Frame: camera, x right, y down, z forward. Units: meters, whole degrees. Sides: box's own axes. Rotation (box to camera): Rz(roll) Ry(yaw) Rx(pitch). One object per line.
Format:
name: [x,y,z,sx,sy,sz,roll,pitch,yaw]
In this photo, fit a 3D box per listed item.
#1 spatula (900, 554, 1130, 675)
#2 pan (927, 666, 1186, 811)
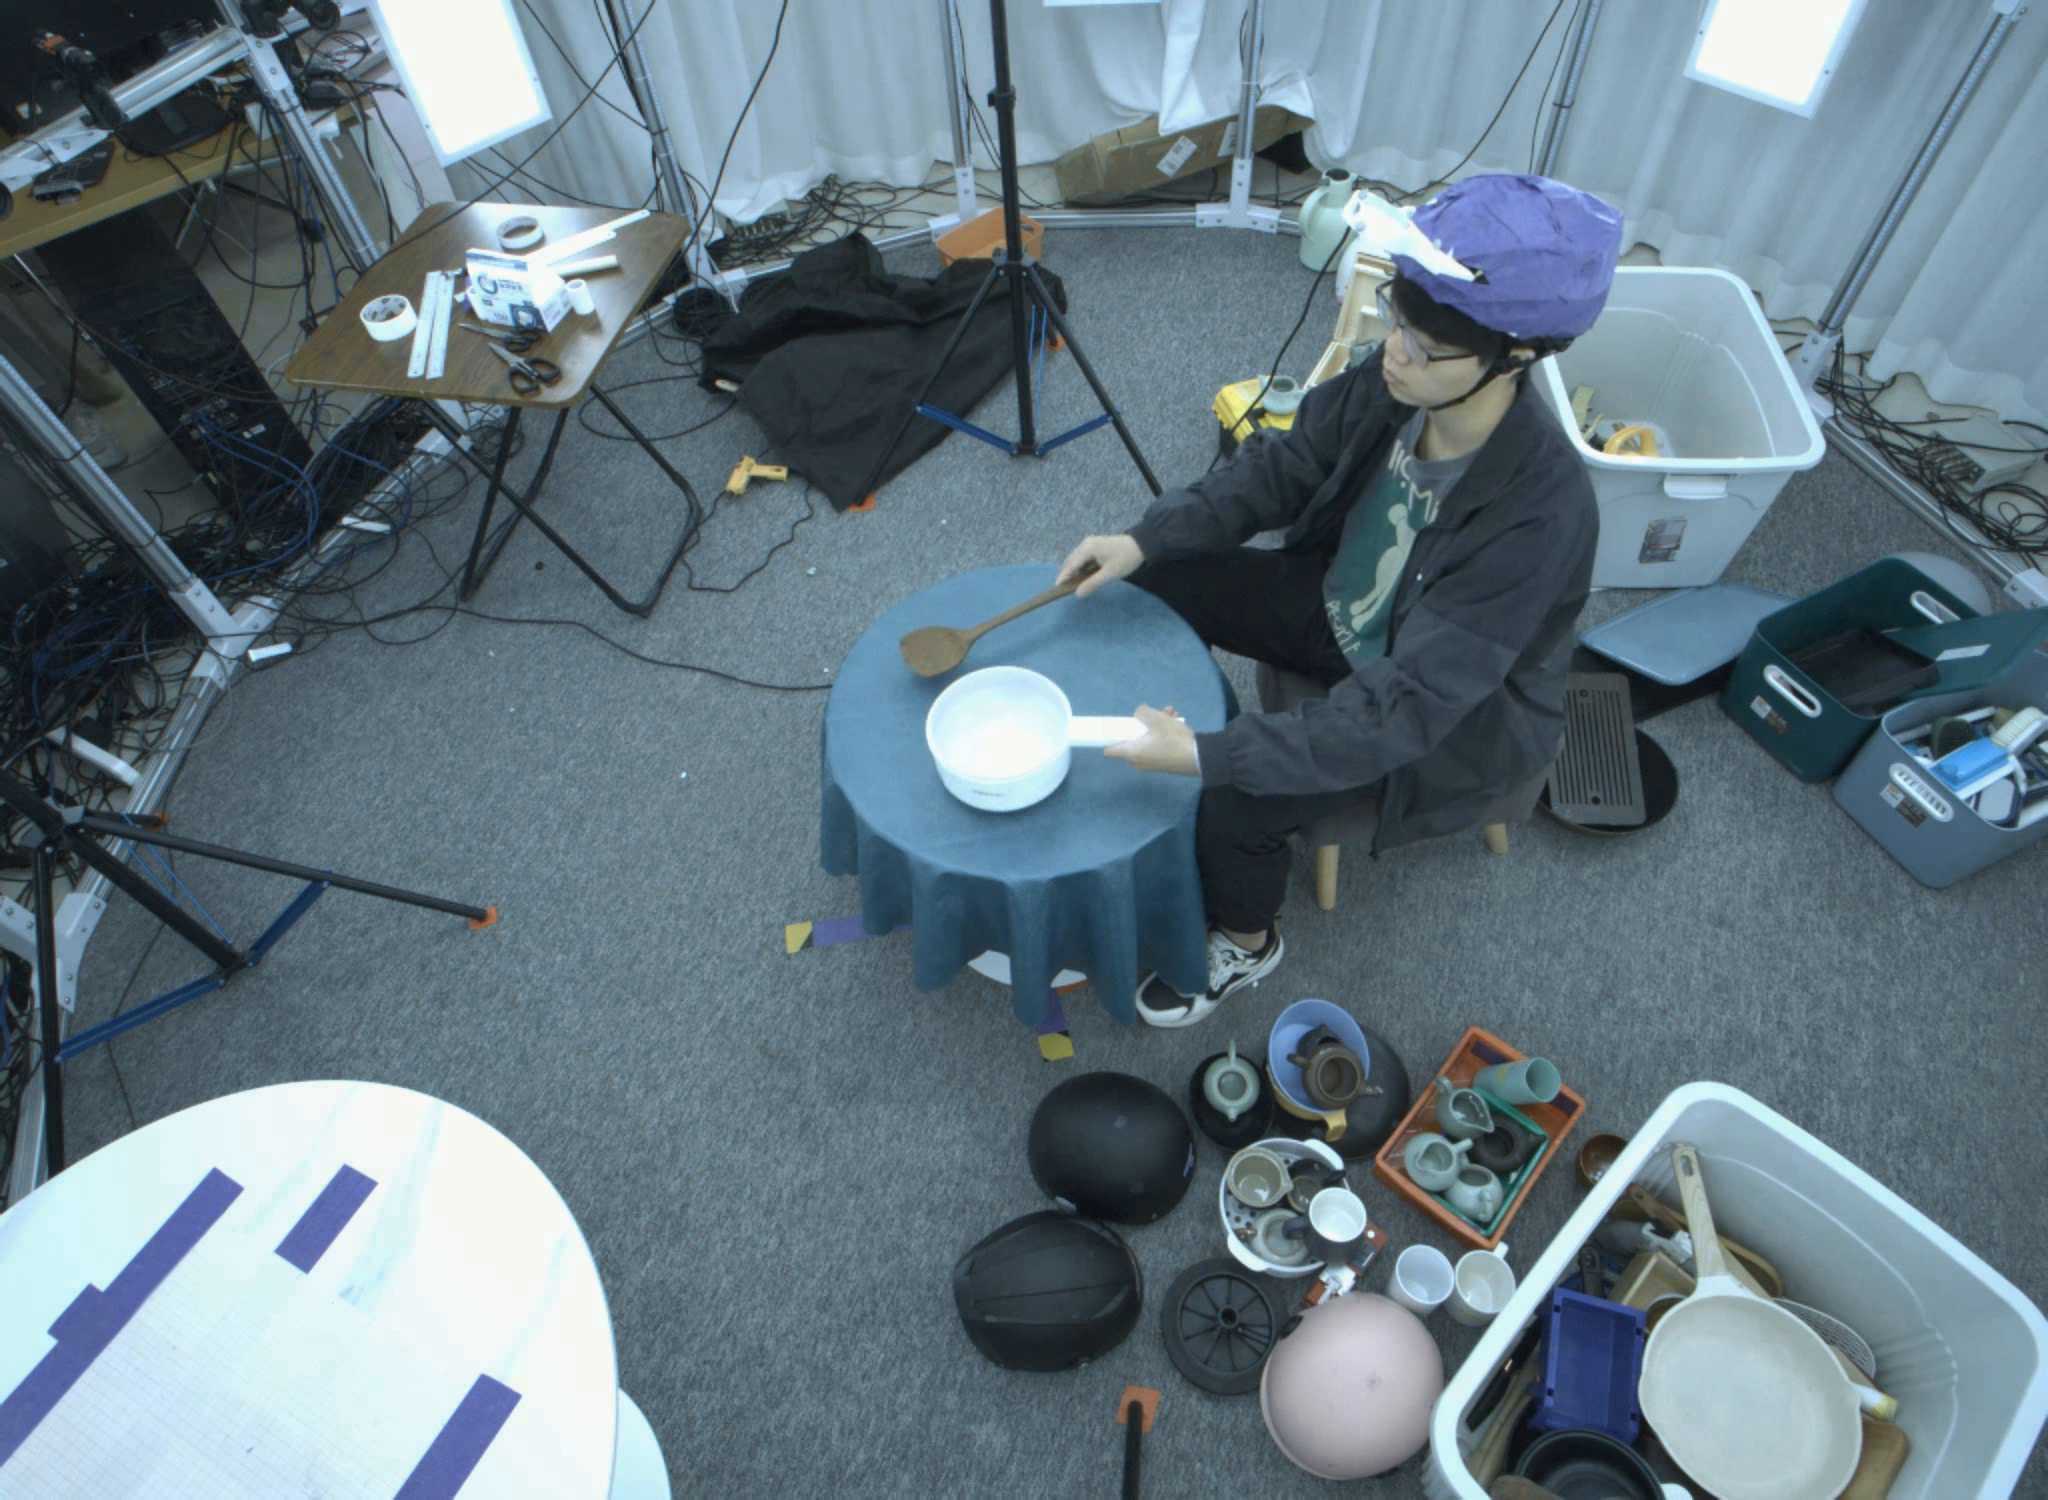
spatula: [-0.006,-0.217,1.858,0.389,0.016,0.094,-27,60,-15]
pan: [0.046,-0.008,1.711,0.354,0.103,0.199,2,53,3]
